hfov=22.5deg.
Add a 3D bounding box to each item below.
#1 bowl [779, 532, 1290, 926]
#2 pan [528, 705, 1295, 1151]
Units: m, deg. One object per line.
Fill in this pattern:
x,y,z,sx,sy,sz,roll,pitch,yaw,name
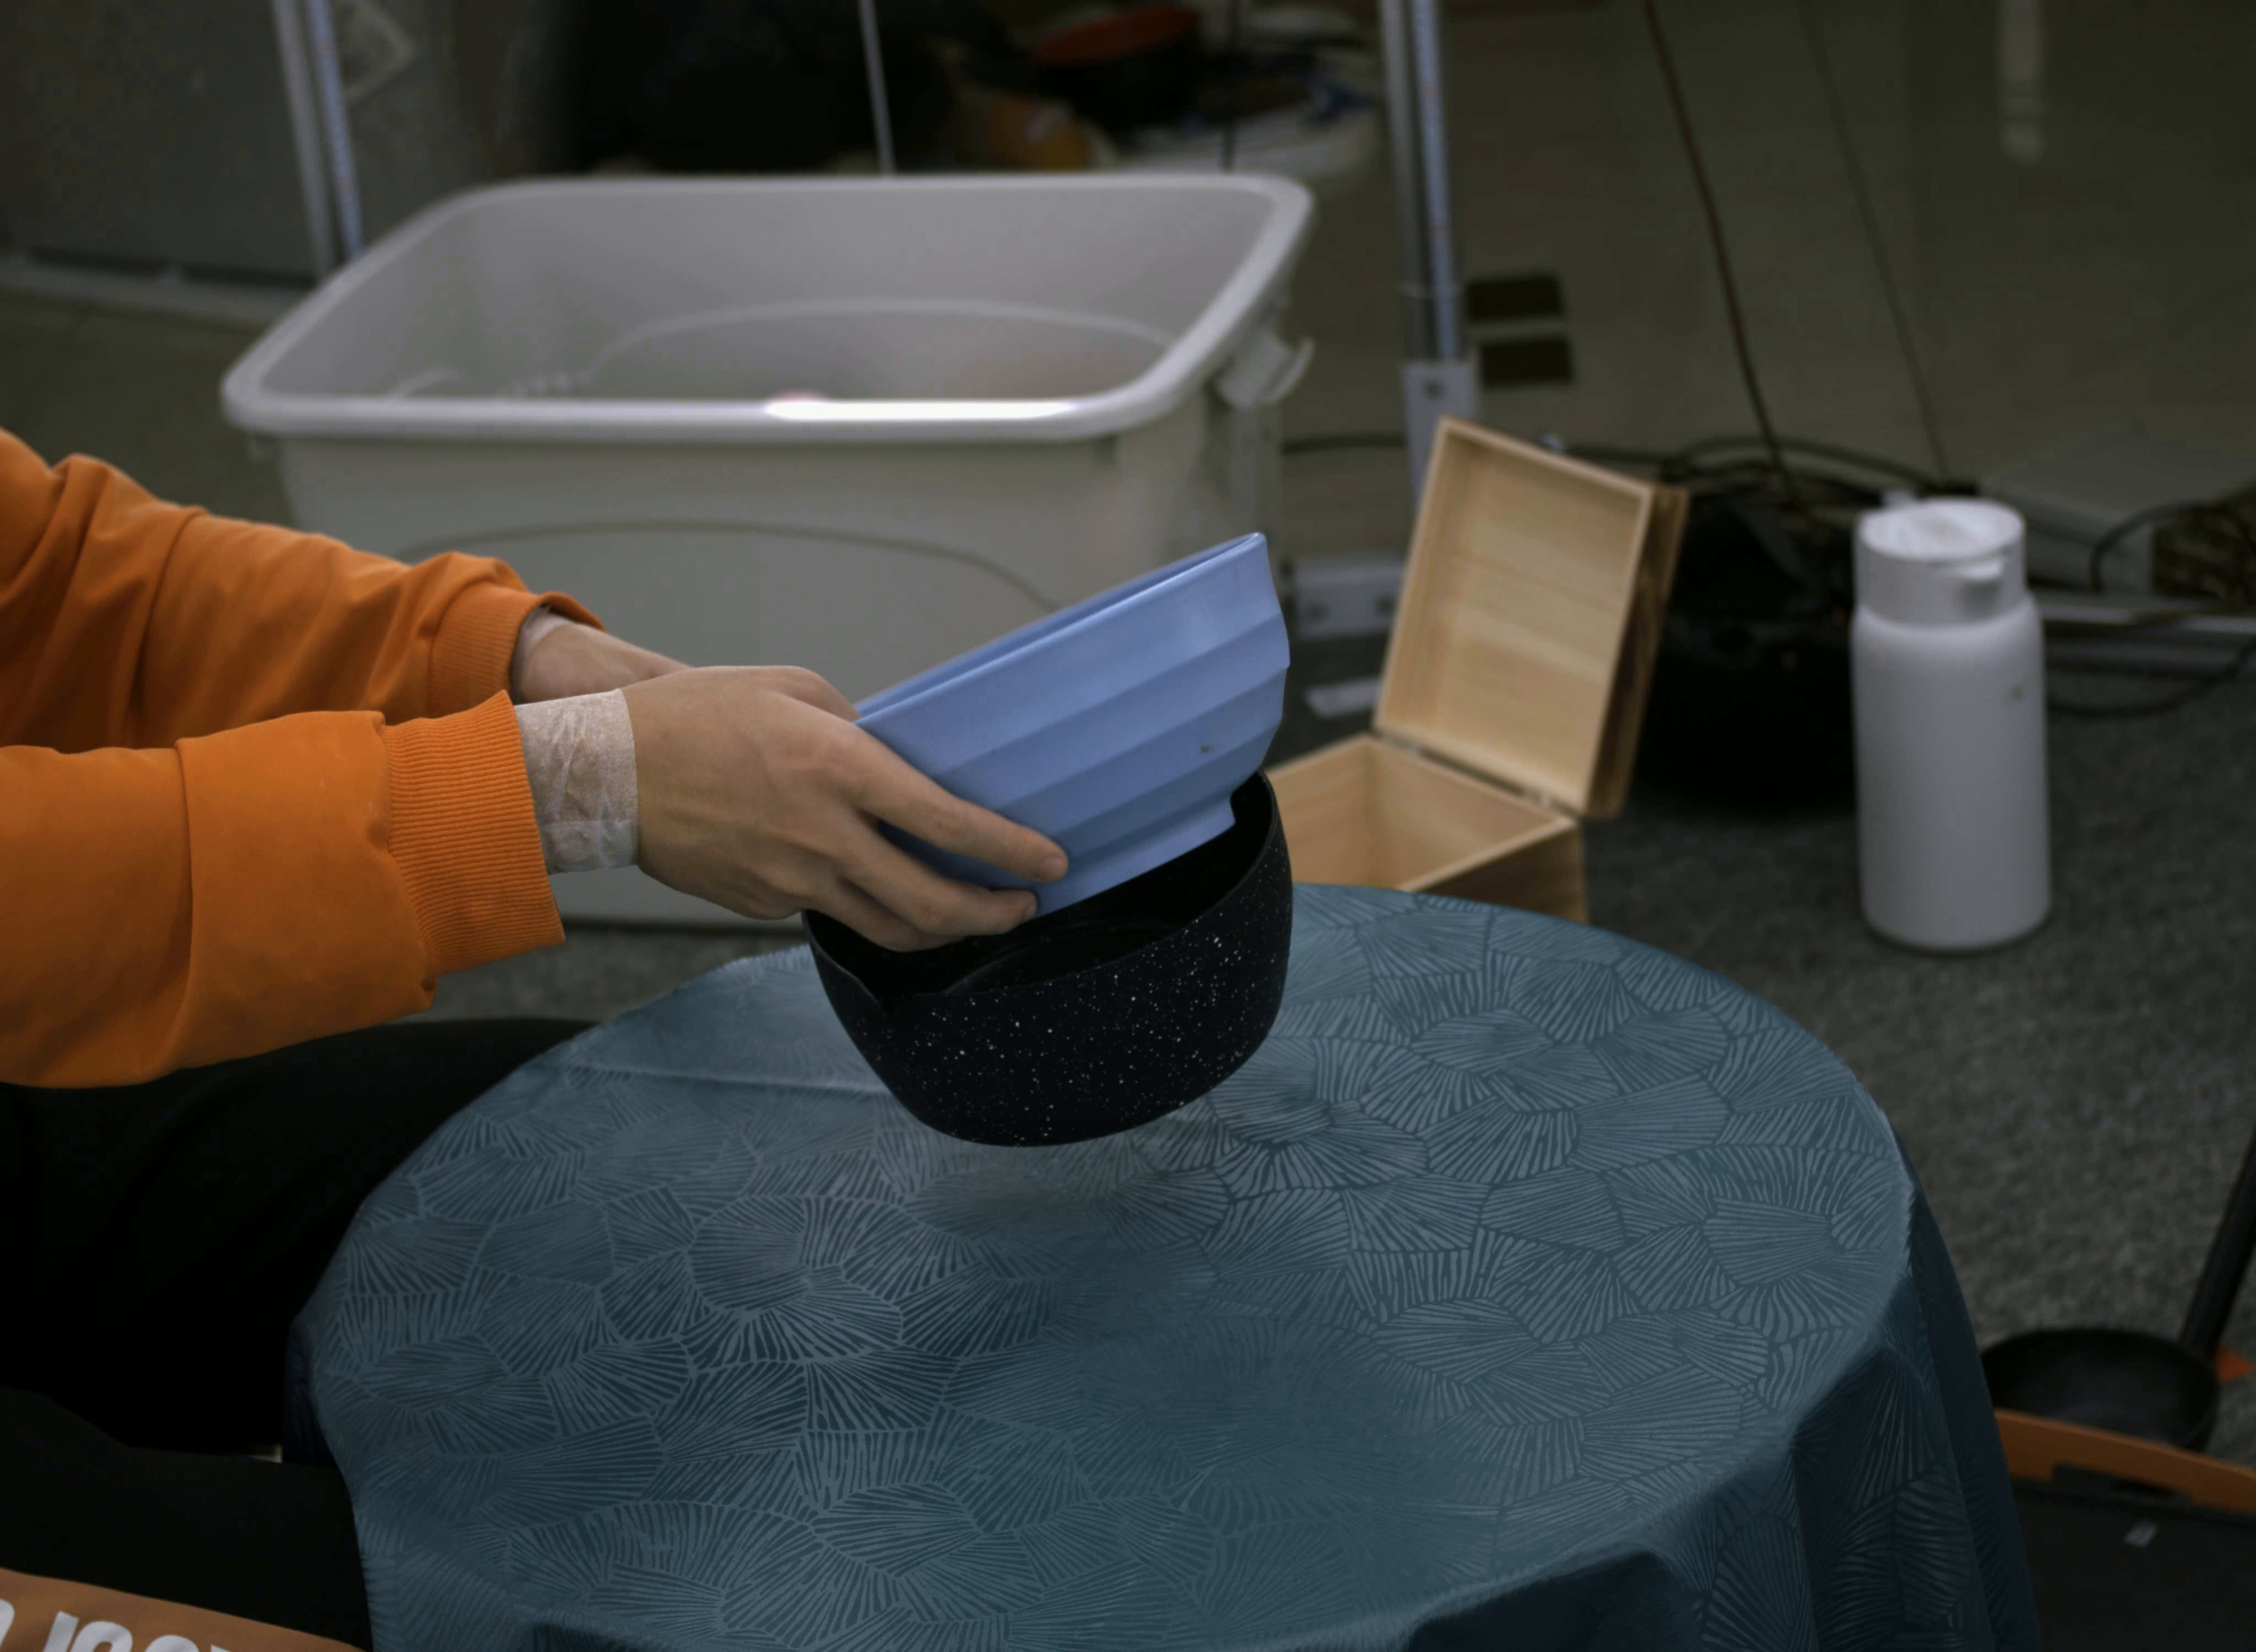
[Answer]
-0.020,-0.025,2.075,0.196,0.096,0.196,-24,3,2,bowl
-0.091,0.025,2.177,0.341,0.110,0.205,10,39,34,pan
